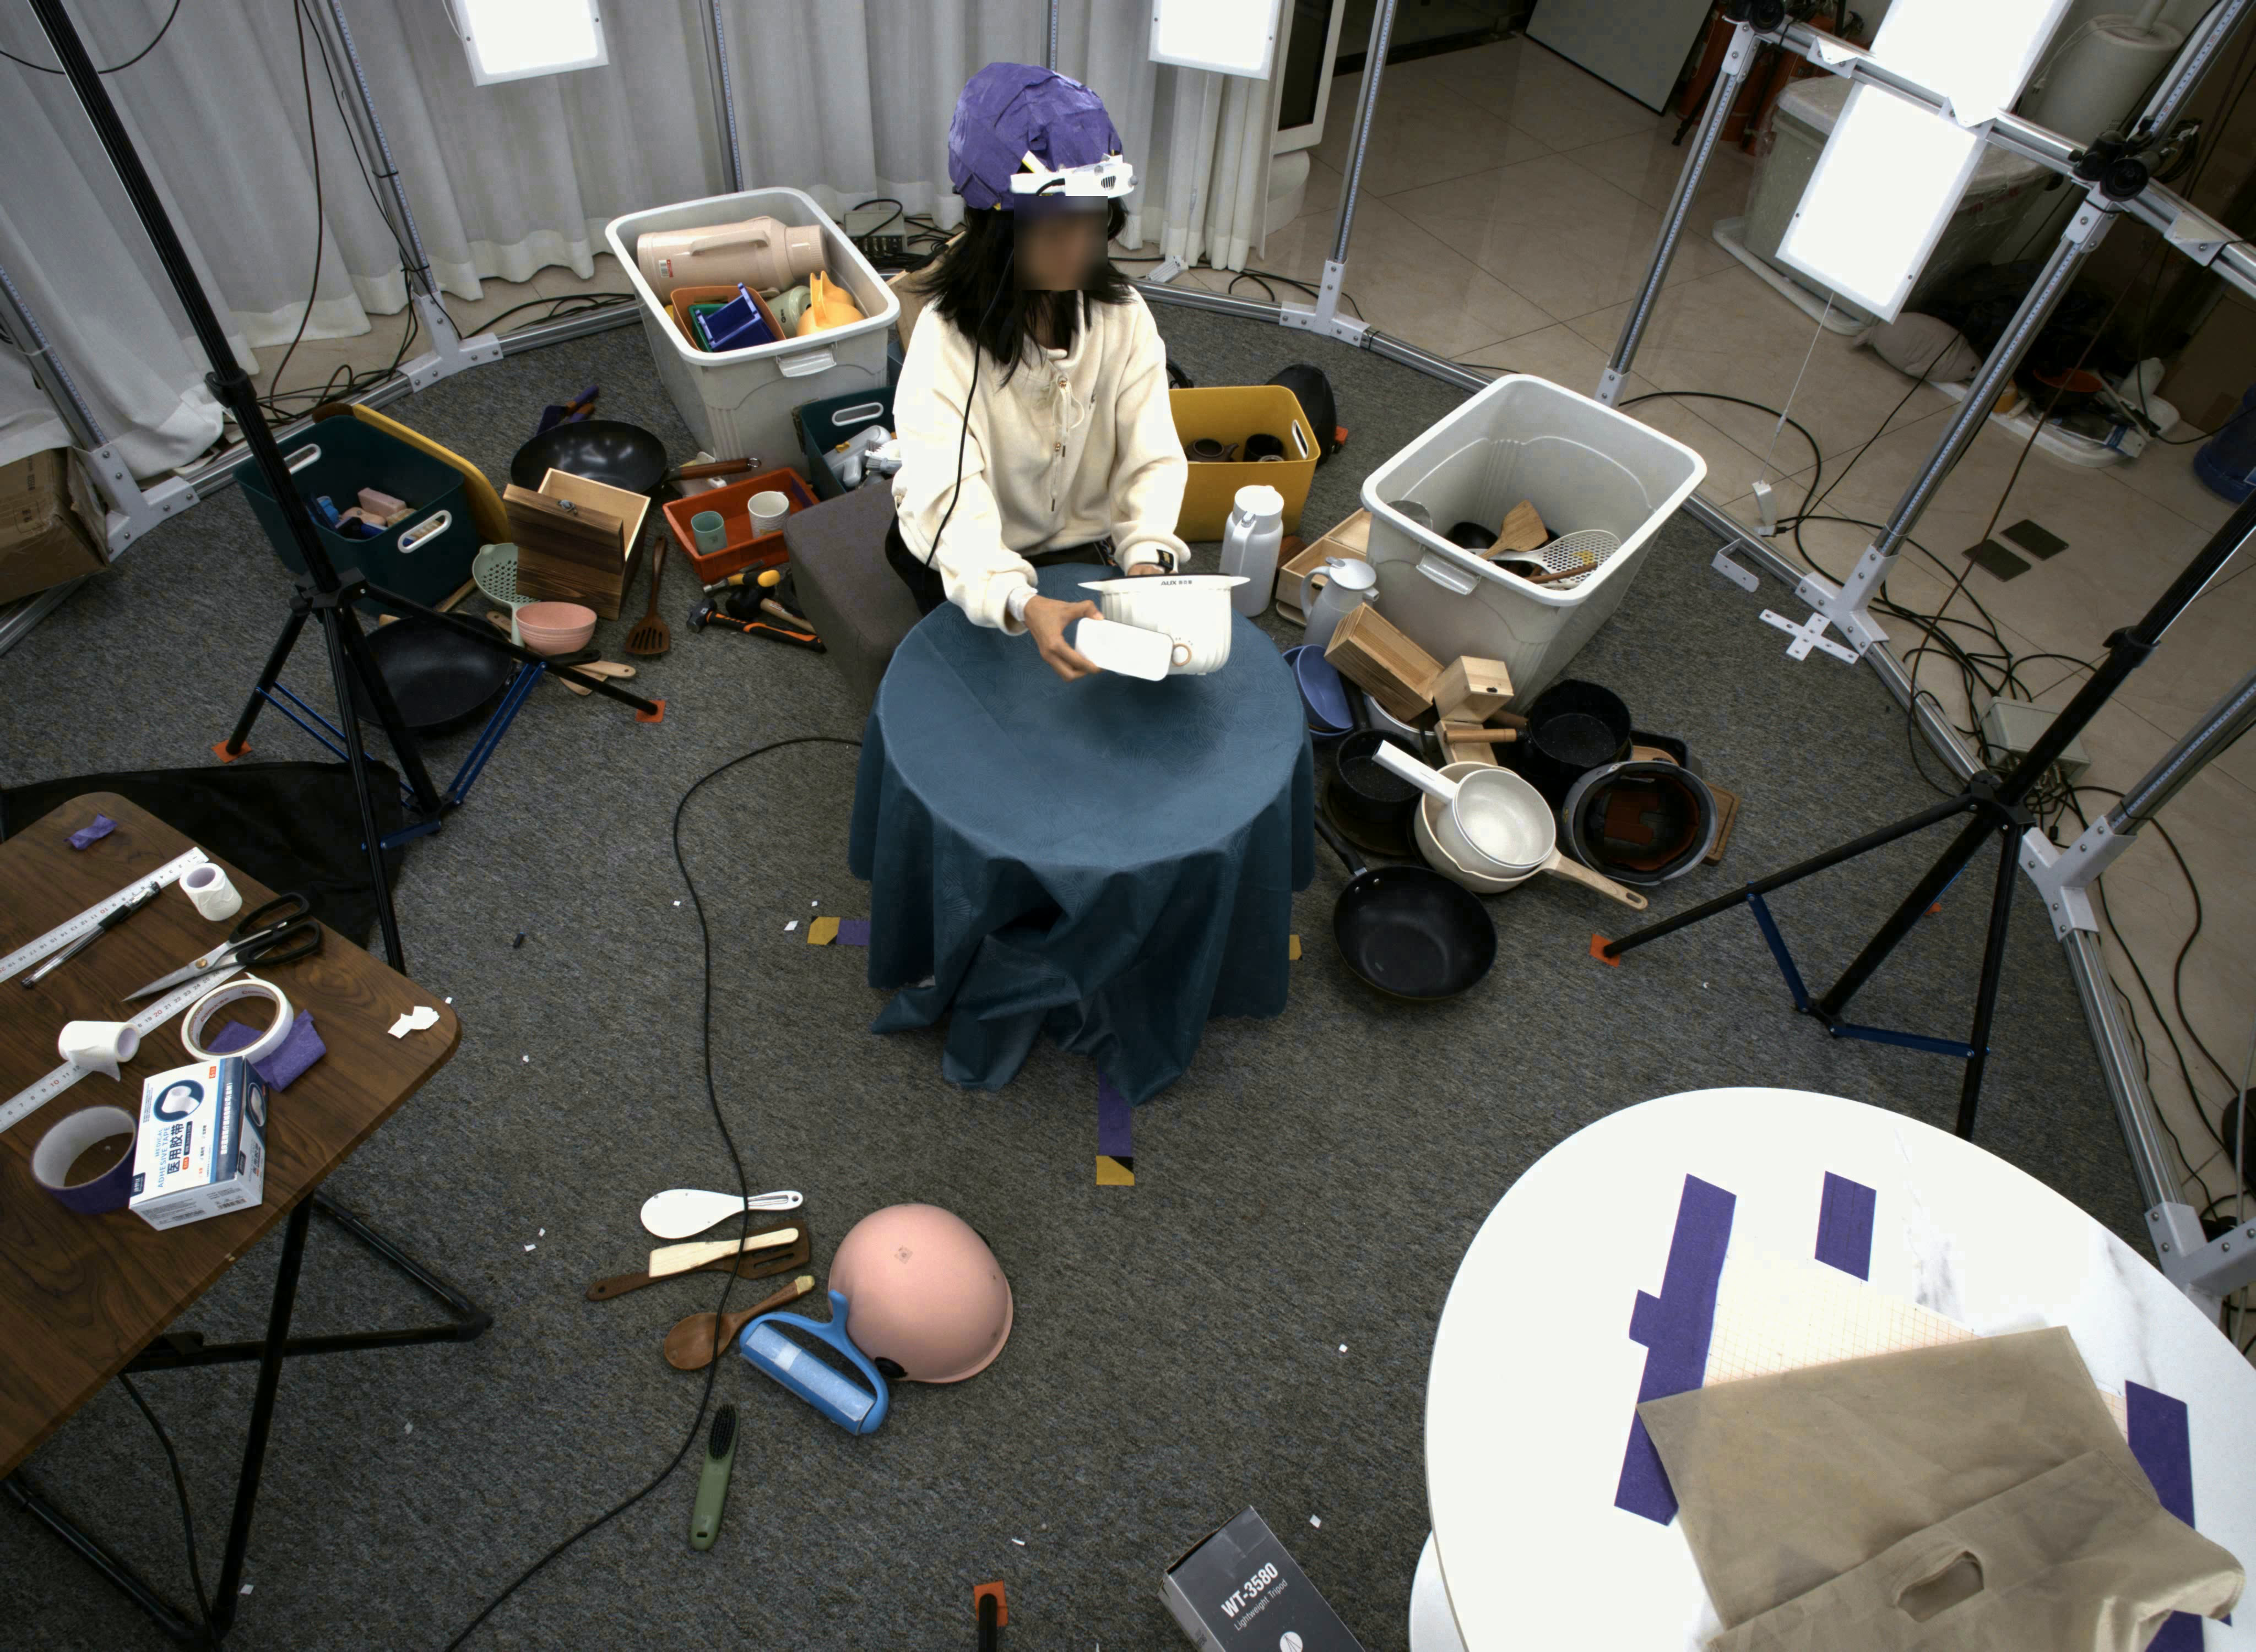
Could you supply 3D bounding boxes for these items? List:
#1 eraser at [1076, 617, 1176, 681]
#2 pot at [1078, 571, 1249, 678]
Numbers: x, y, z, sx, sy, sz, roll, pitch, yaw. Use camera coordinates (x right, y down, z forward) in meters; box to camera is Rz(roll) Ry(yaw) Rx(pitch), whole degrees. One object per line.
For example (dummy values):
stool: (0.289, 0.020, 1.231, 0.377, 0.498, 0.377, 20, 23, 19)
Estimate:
eraser: (-0.003, -0.233, 1.669, 0.132, 0.062, 0.035, 16, 20, 18)
pot: (0.055, -0.276, 1.772, 0.240, 0.191, 0.142, -4, 93, -8)
